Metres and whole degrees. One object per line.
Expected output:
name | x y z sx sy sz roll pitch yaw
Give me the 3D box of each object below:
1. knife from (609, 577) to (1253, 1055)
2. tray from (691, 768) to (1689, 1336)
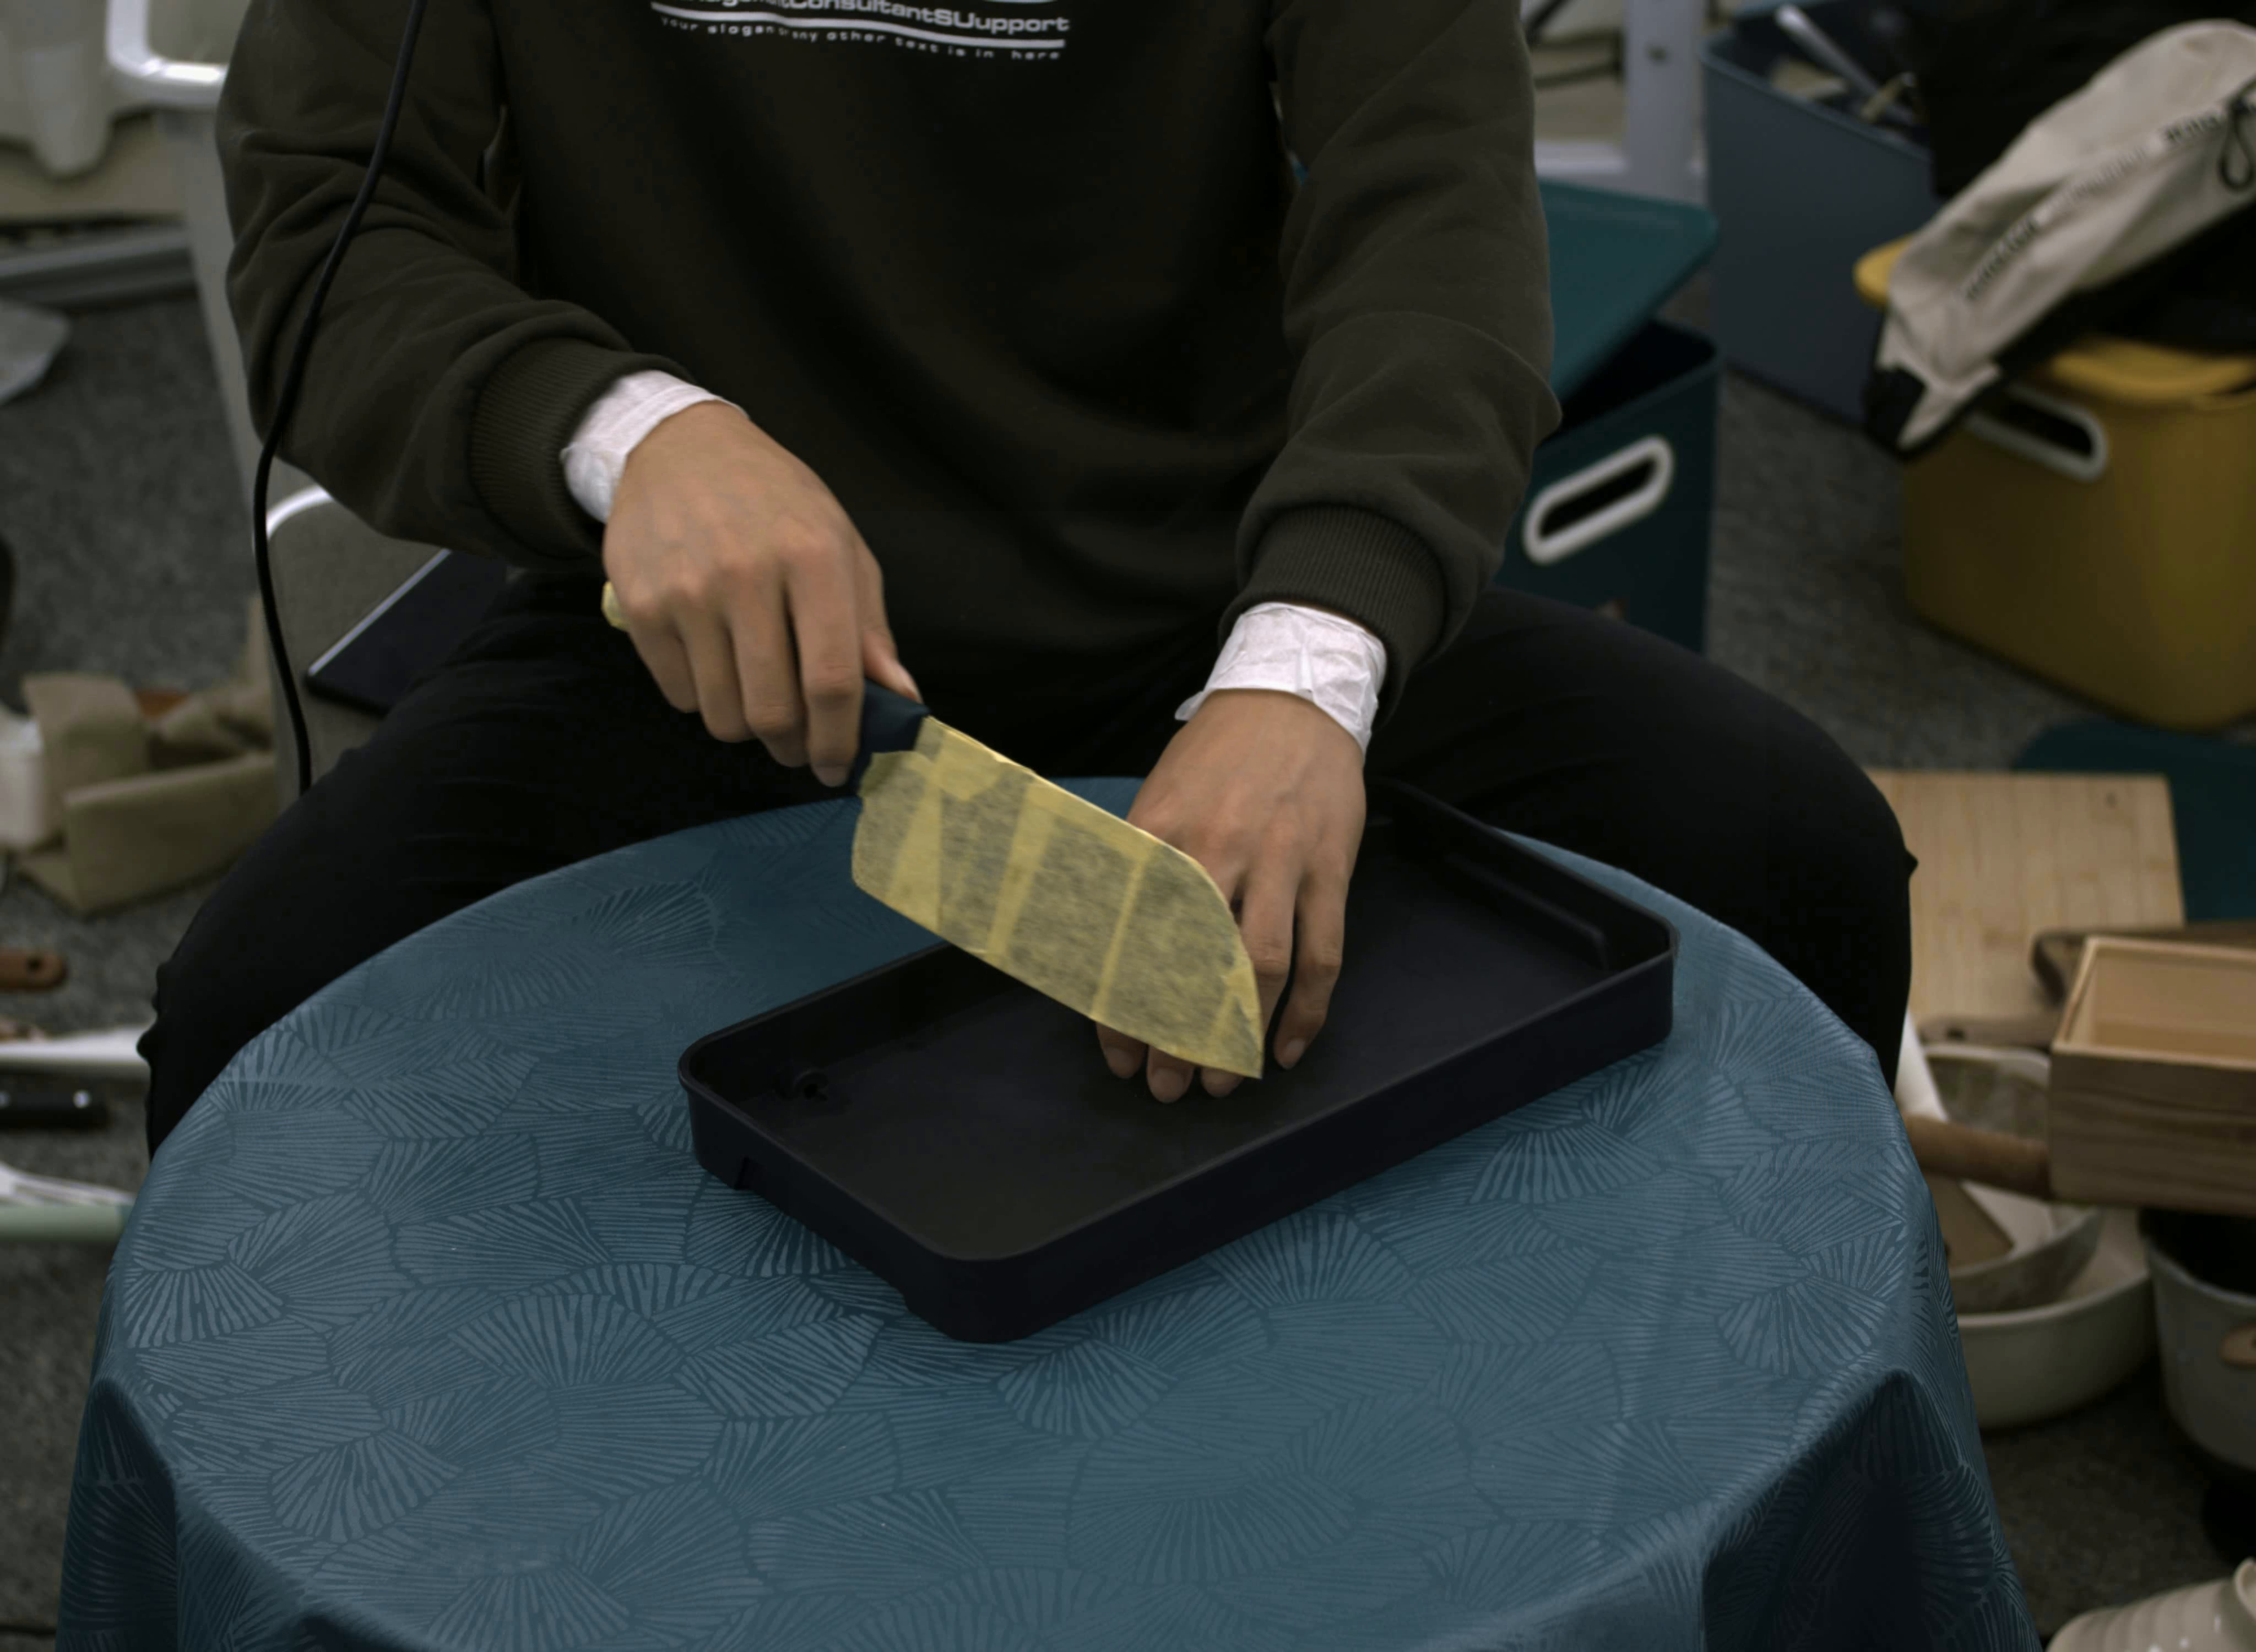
knife | -0.070 -0.005 1.908 0.290 0.080 0.027 32 25 26
tray | 0.024 0.071 1.917 0.321 0.036 0.184 -23 33 -34
